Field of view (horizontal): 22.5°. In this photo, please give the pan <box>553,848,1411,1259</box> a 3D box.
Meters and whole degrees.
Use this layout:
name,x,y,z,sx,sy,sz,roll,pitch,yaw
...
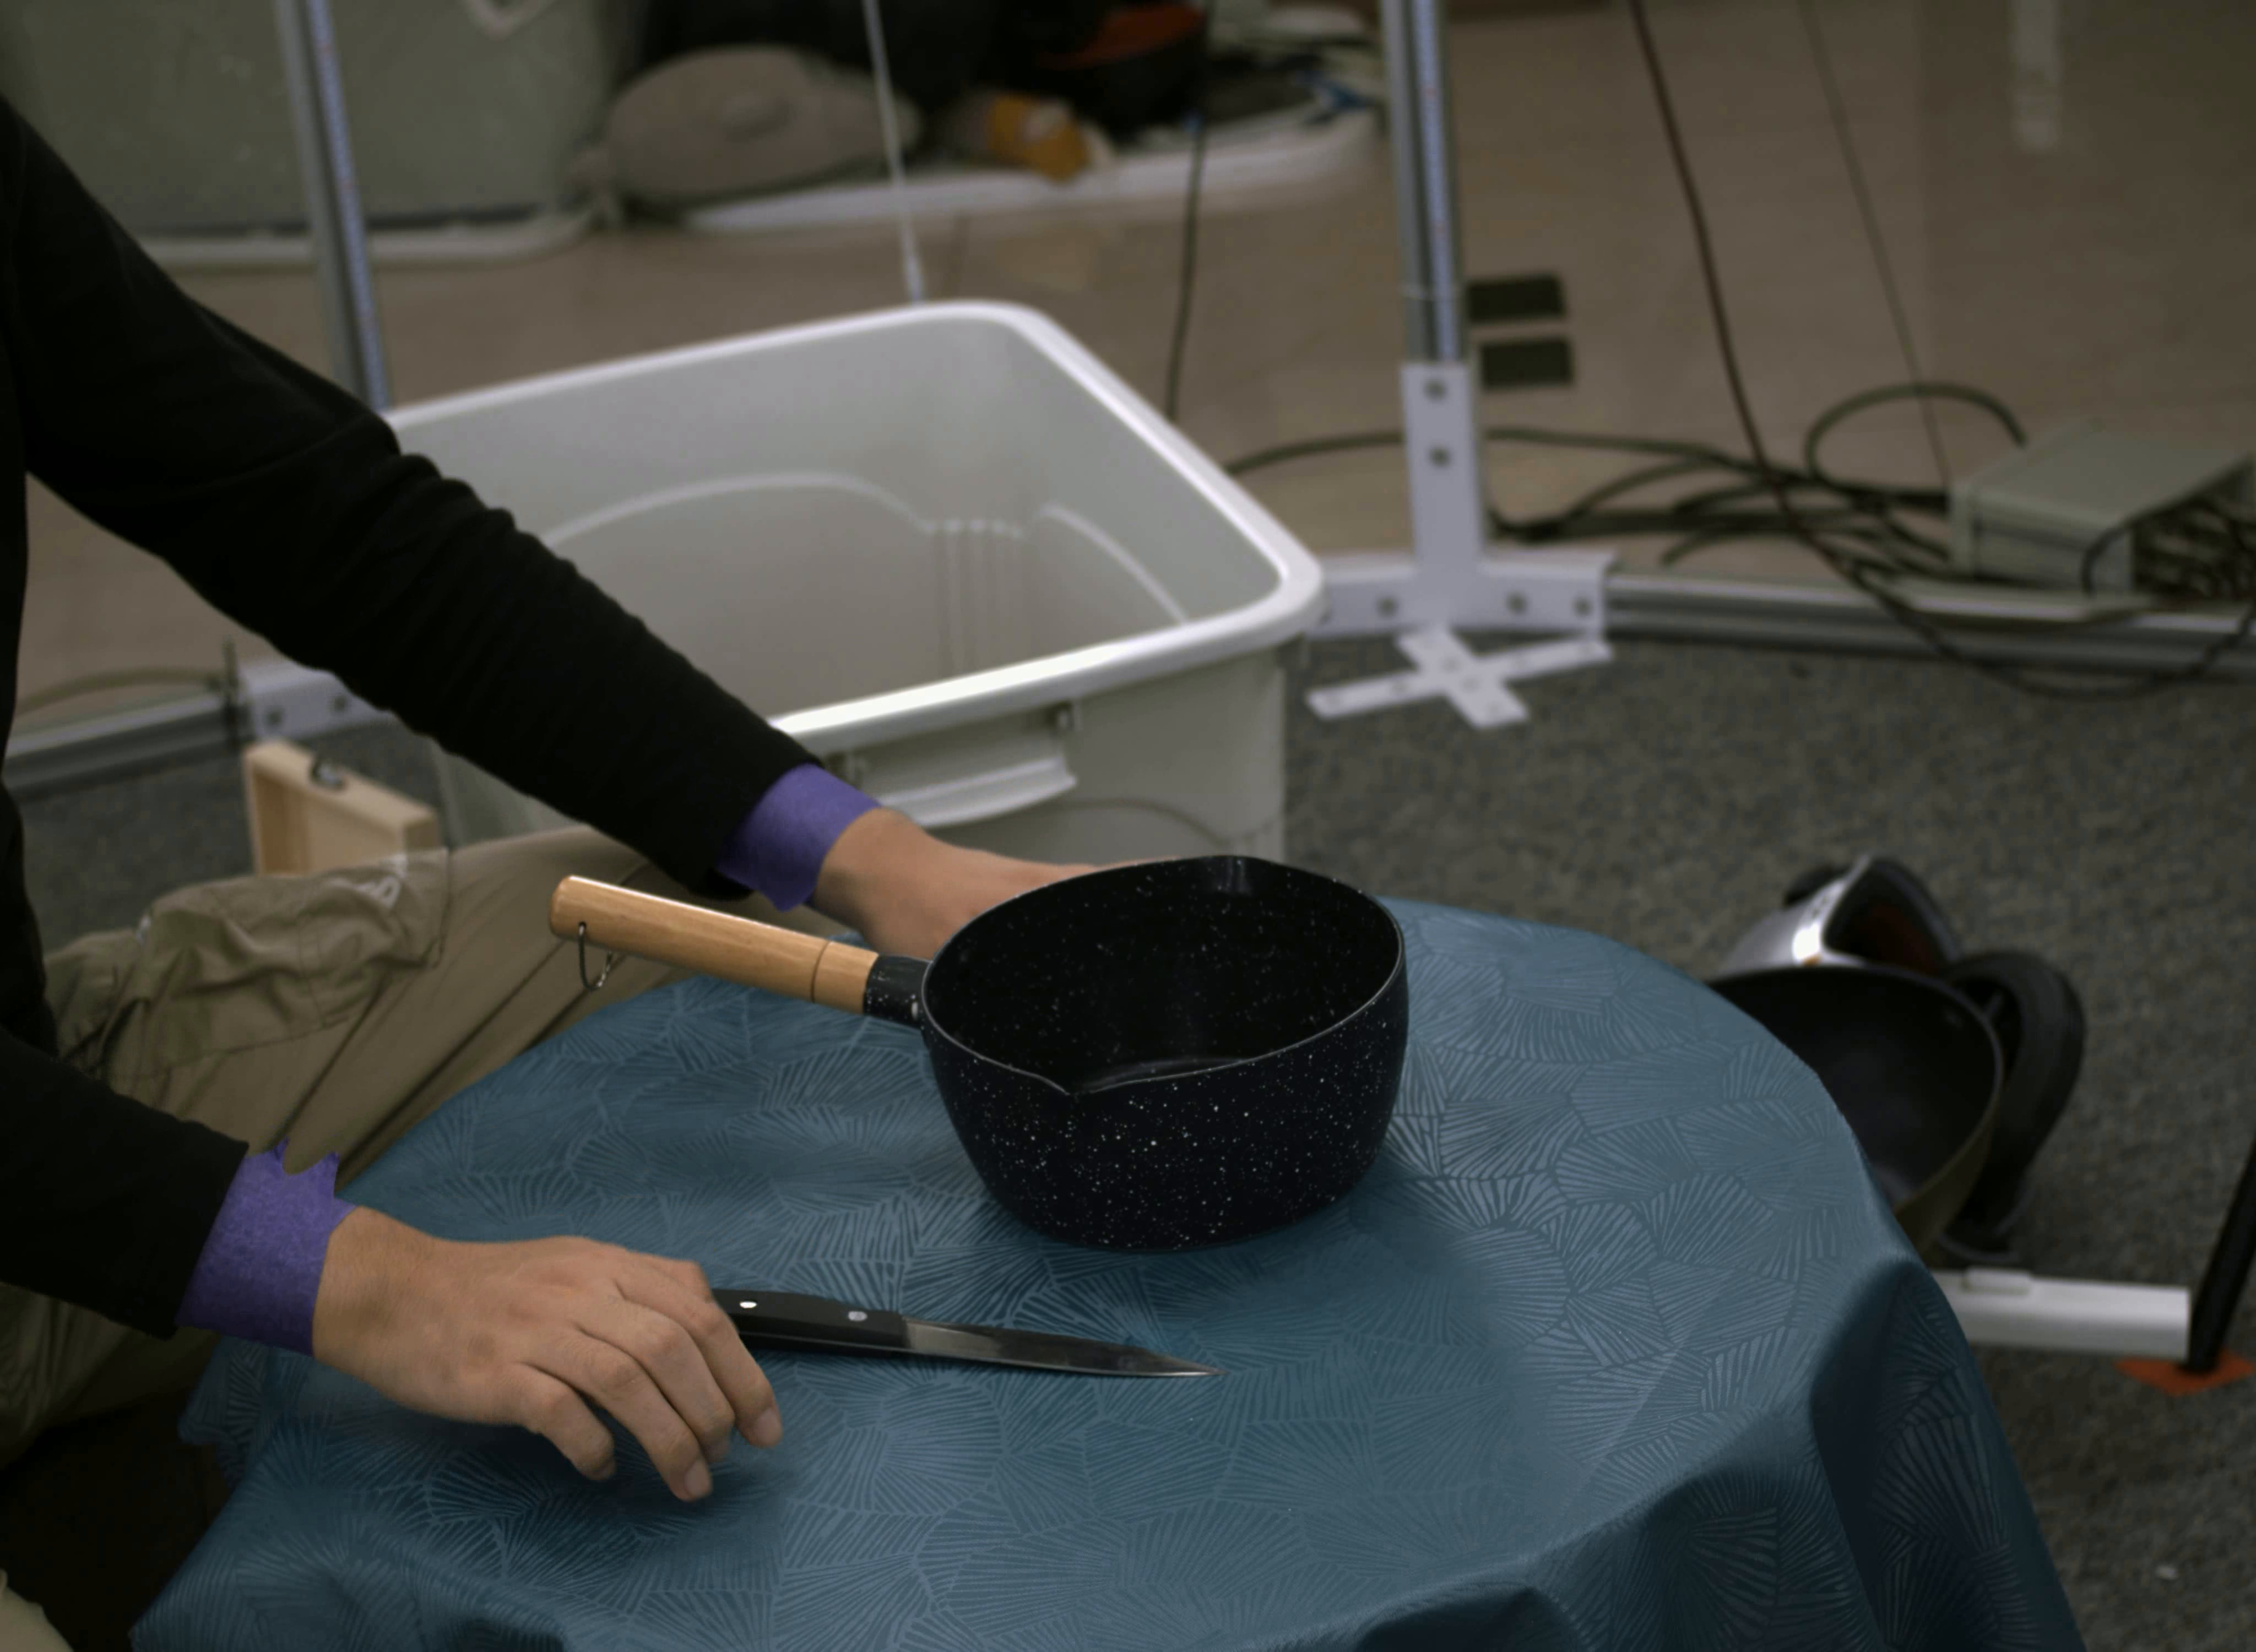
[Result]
name,x,y,z,sx,sy,sz,roll,pitch,yaw
pan,-0.059,0.077,2.170,0.342,0.110,0.204,3,27,18

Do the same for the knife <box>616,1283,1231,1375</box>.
name,x,y,z,sx,sy,sz,roll,pitch,yaw
knife,-0.077,0.186,2.056,0.237,0.016,0.024,5,23,17
